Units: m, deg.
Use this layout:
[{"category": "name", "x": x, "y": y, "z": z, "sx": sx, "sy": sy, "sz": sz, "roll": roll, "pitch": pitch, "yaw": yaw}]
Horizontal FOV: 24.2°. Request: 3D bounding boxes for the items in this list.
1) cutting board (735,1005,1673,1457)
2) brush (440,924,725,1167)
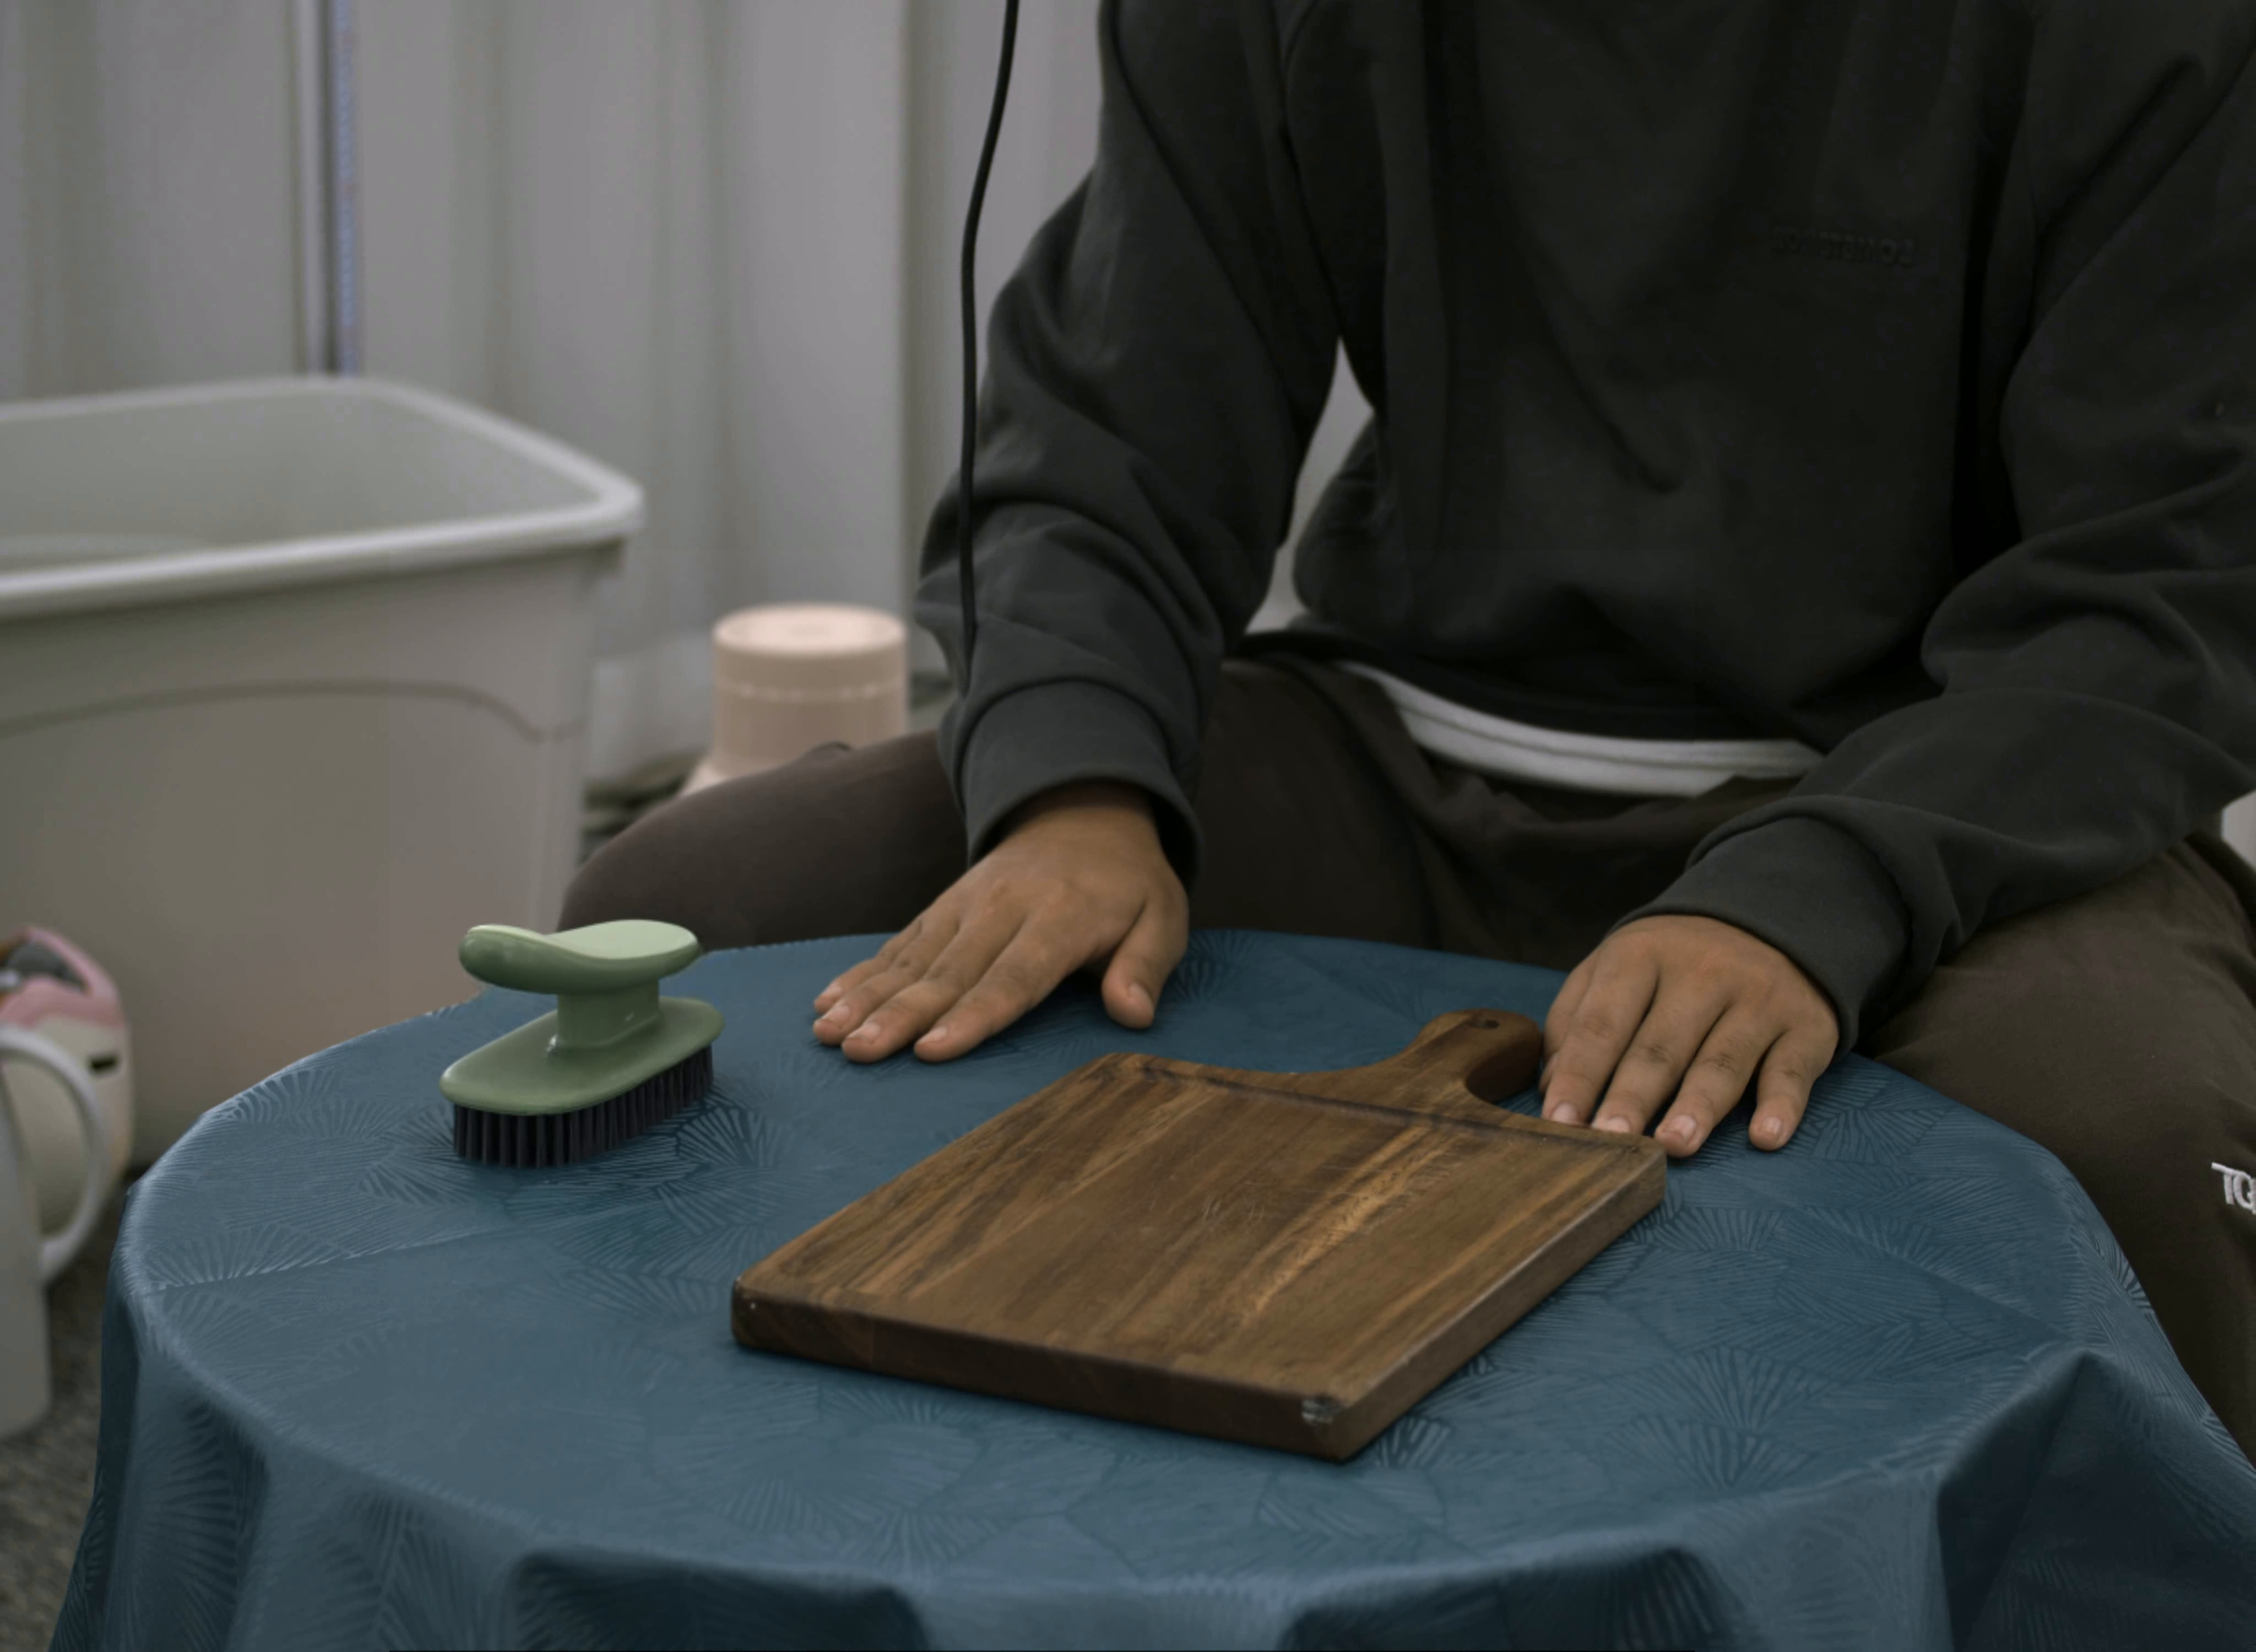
[{"category": "cutting board", "x": 0.050, "y": 0.110, "z": 1.599, "sx": 0.199, "sy": 0.023, "sz": 0.353, "roll": 8, "pitch": 17, "yaw": 25}, {"category": "brush", "x": -0.174, "y": 0.068, "z": 1.680, "sx": 0.059, "sy": 0.076, "sz": 0.124, "roll": 8, "pitch": 3, "yaw": 23}]
